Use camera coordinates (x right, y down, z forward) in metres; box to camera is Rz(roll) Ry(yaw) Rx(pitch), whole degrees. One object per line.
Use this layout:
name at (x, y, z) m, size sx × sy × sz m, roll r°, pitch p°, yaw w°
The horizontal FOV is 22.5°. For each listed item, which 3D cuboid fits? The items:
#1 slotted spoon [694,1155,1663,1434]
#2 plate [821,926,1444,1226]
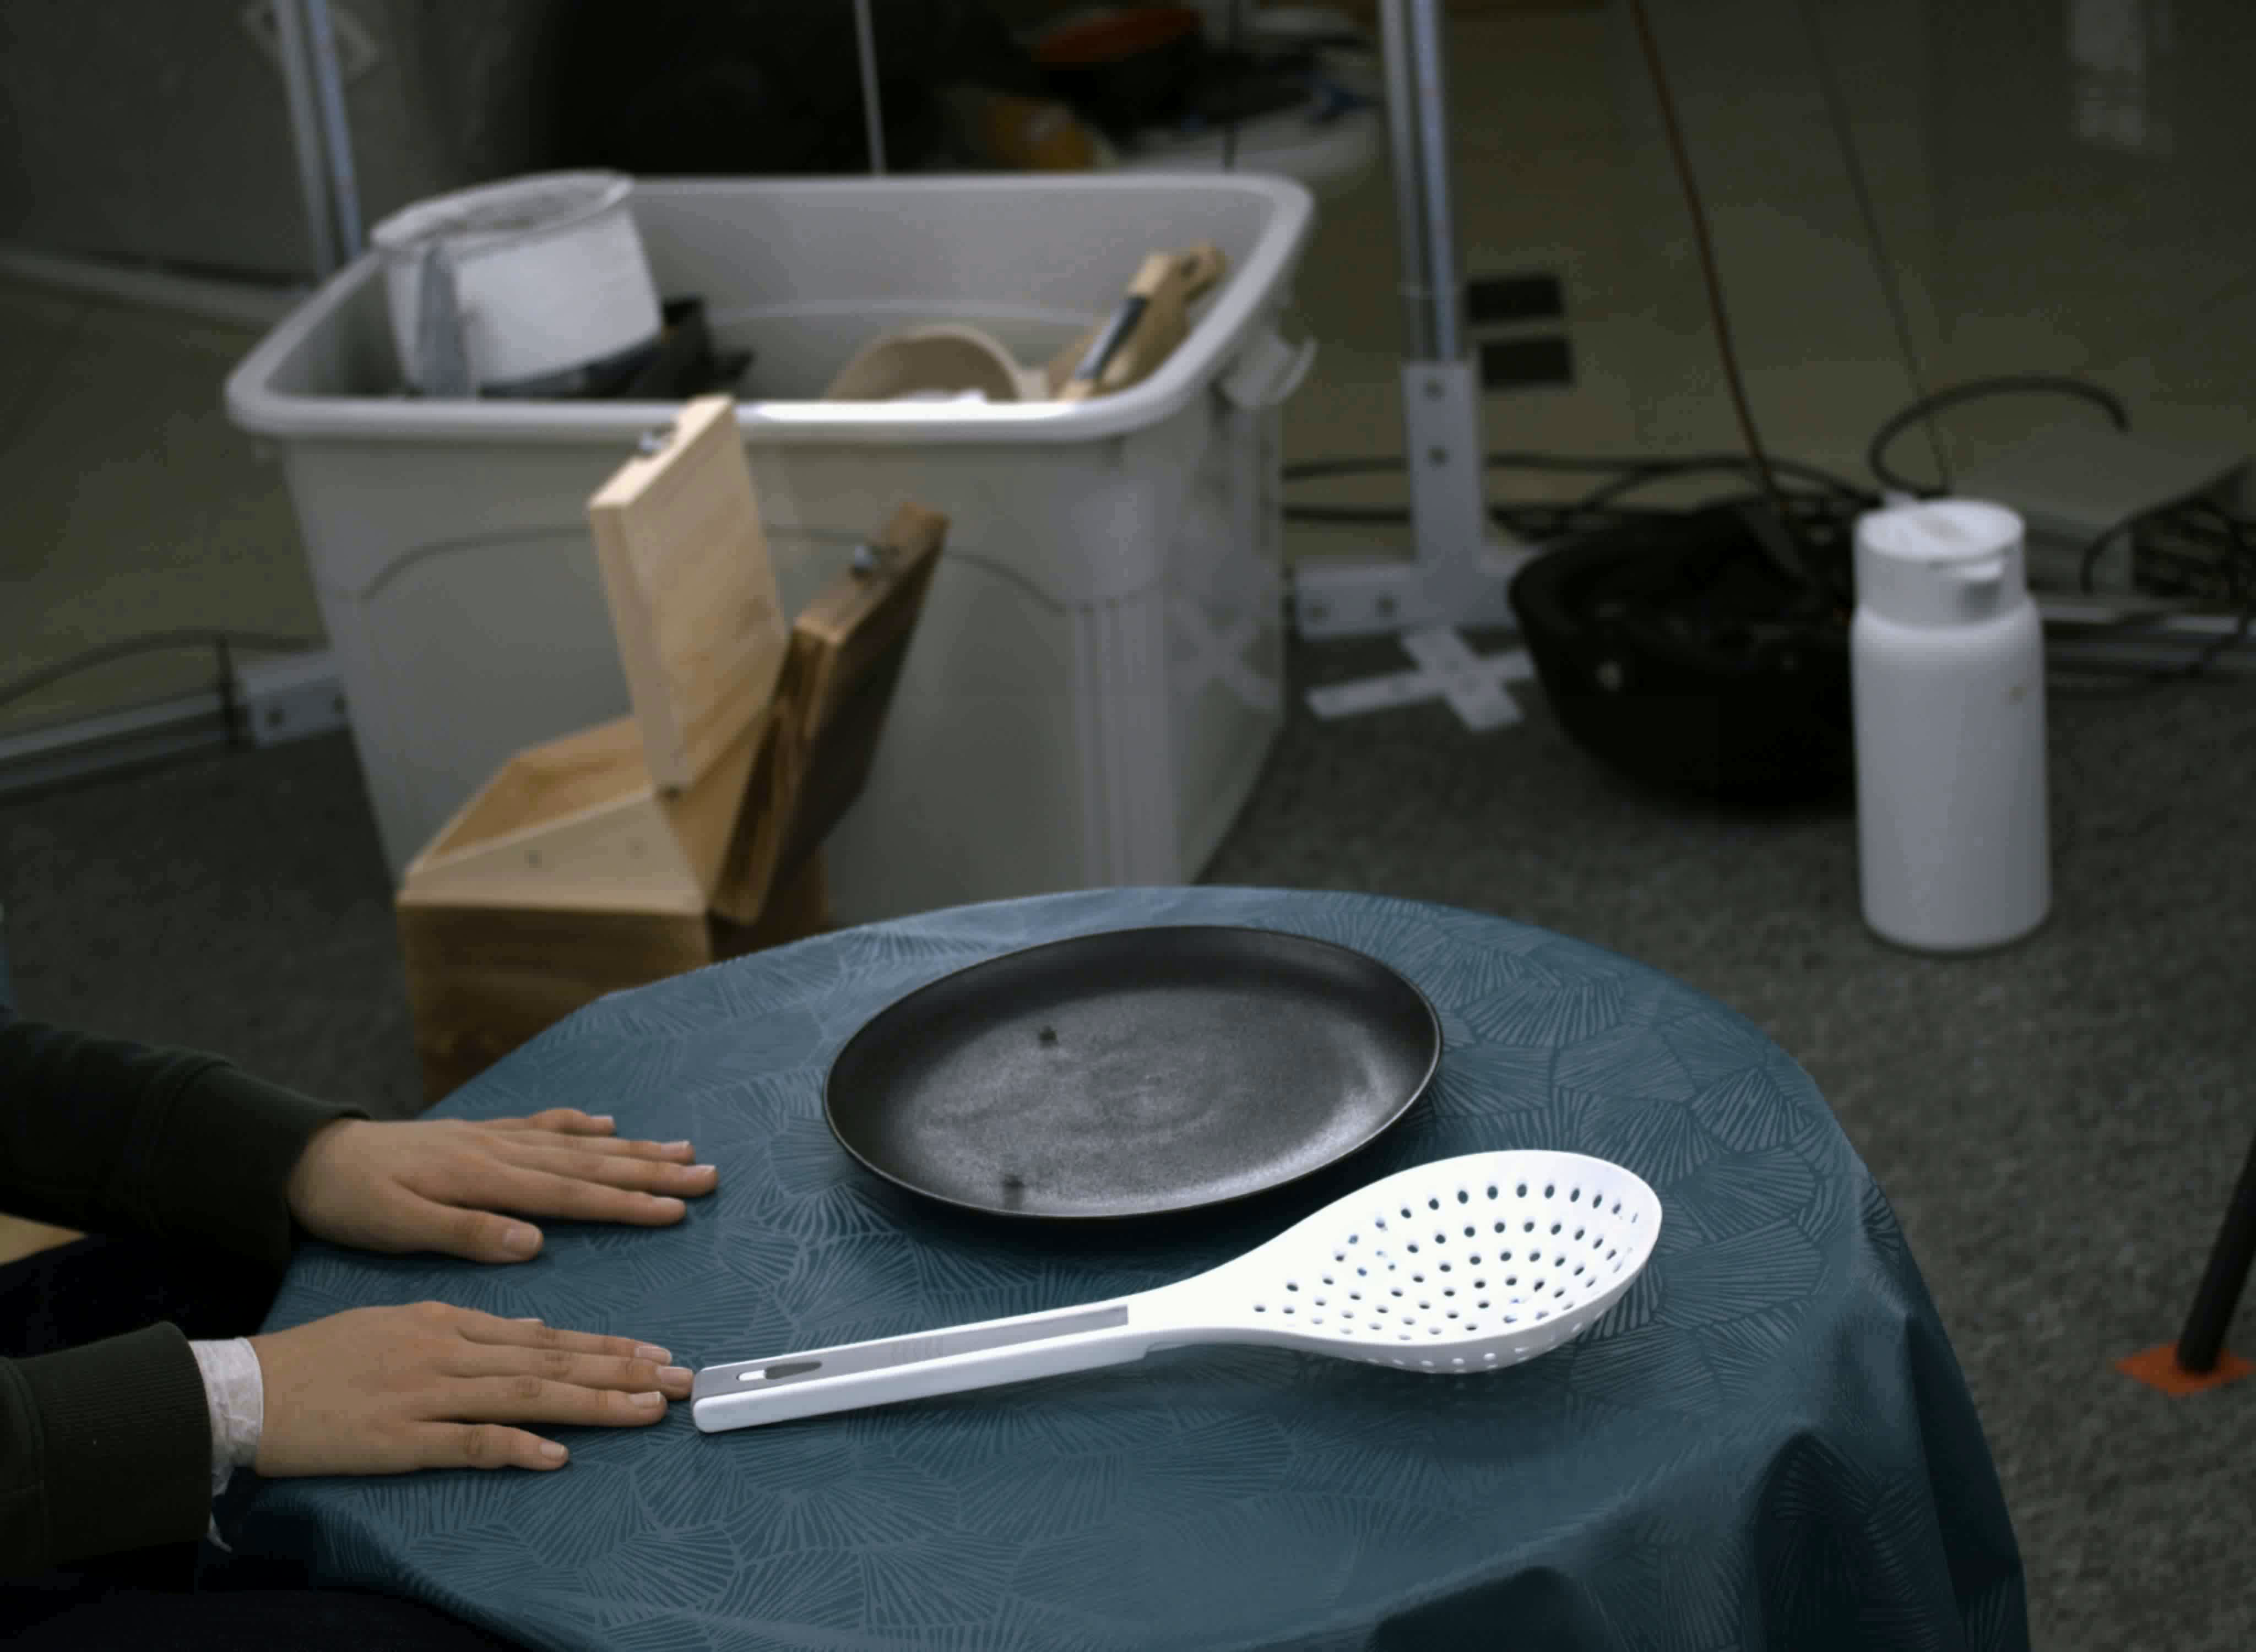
slotted spoon at (0.017, 0.175, 2.017) m, size 0.349 × 0.046 × 0.134 m, roll -6°, pitch 23°, yaw 2°
plate at (0.002, 0.102, 2.204) m, size 0.244 × 0.024 × 0.241 m, roll -5°, pitch 25°, yaw 3°
